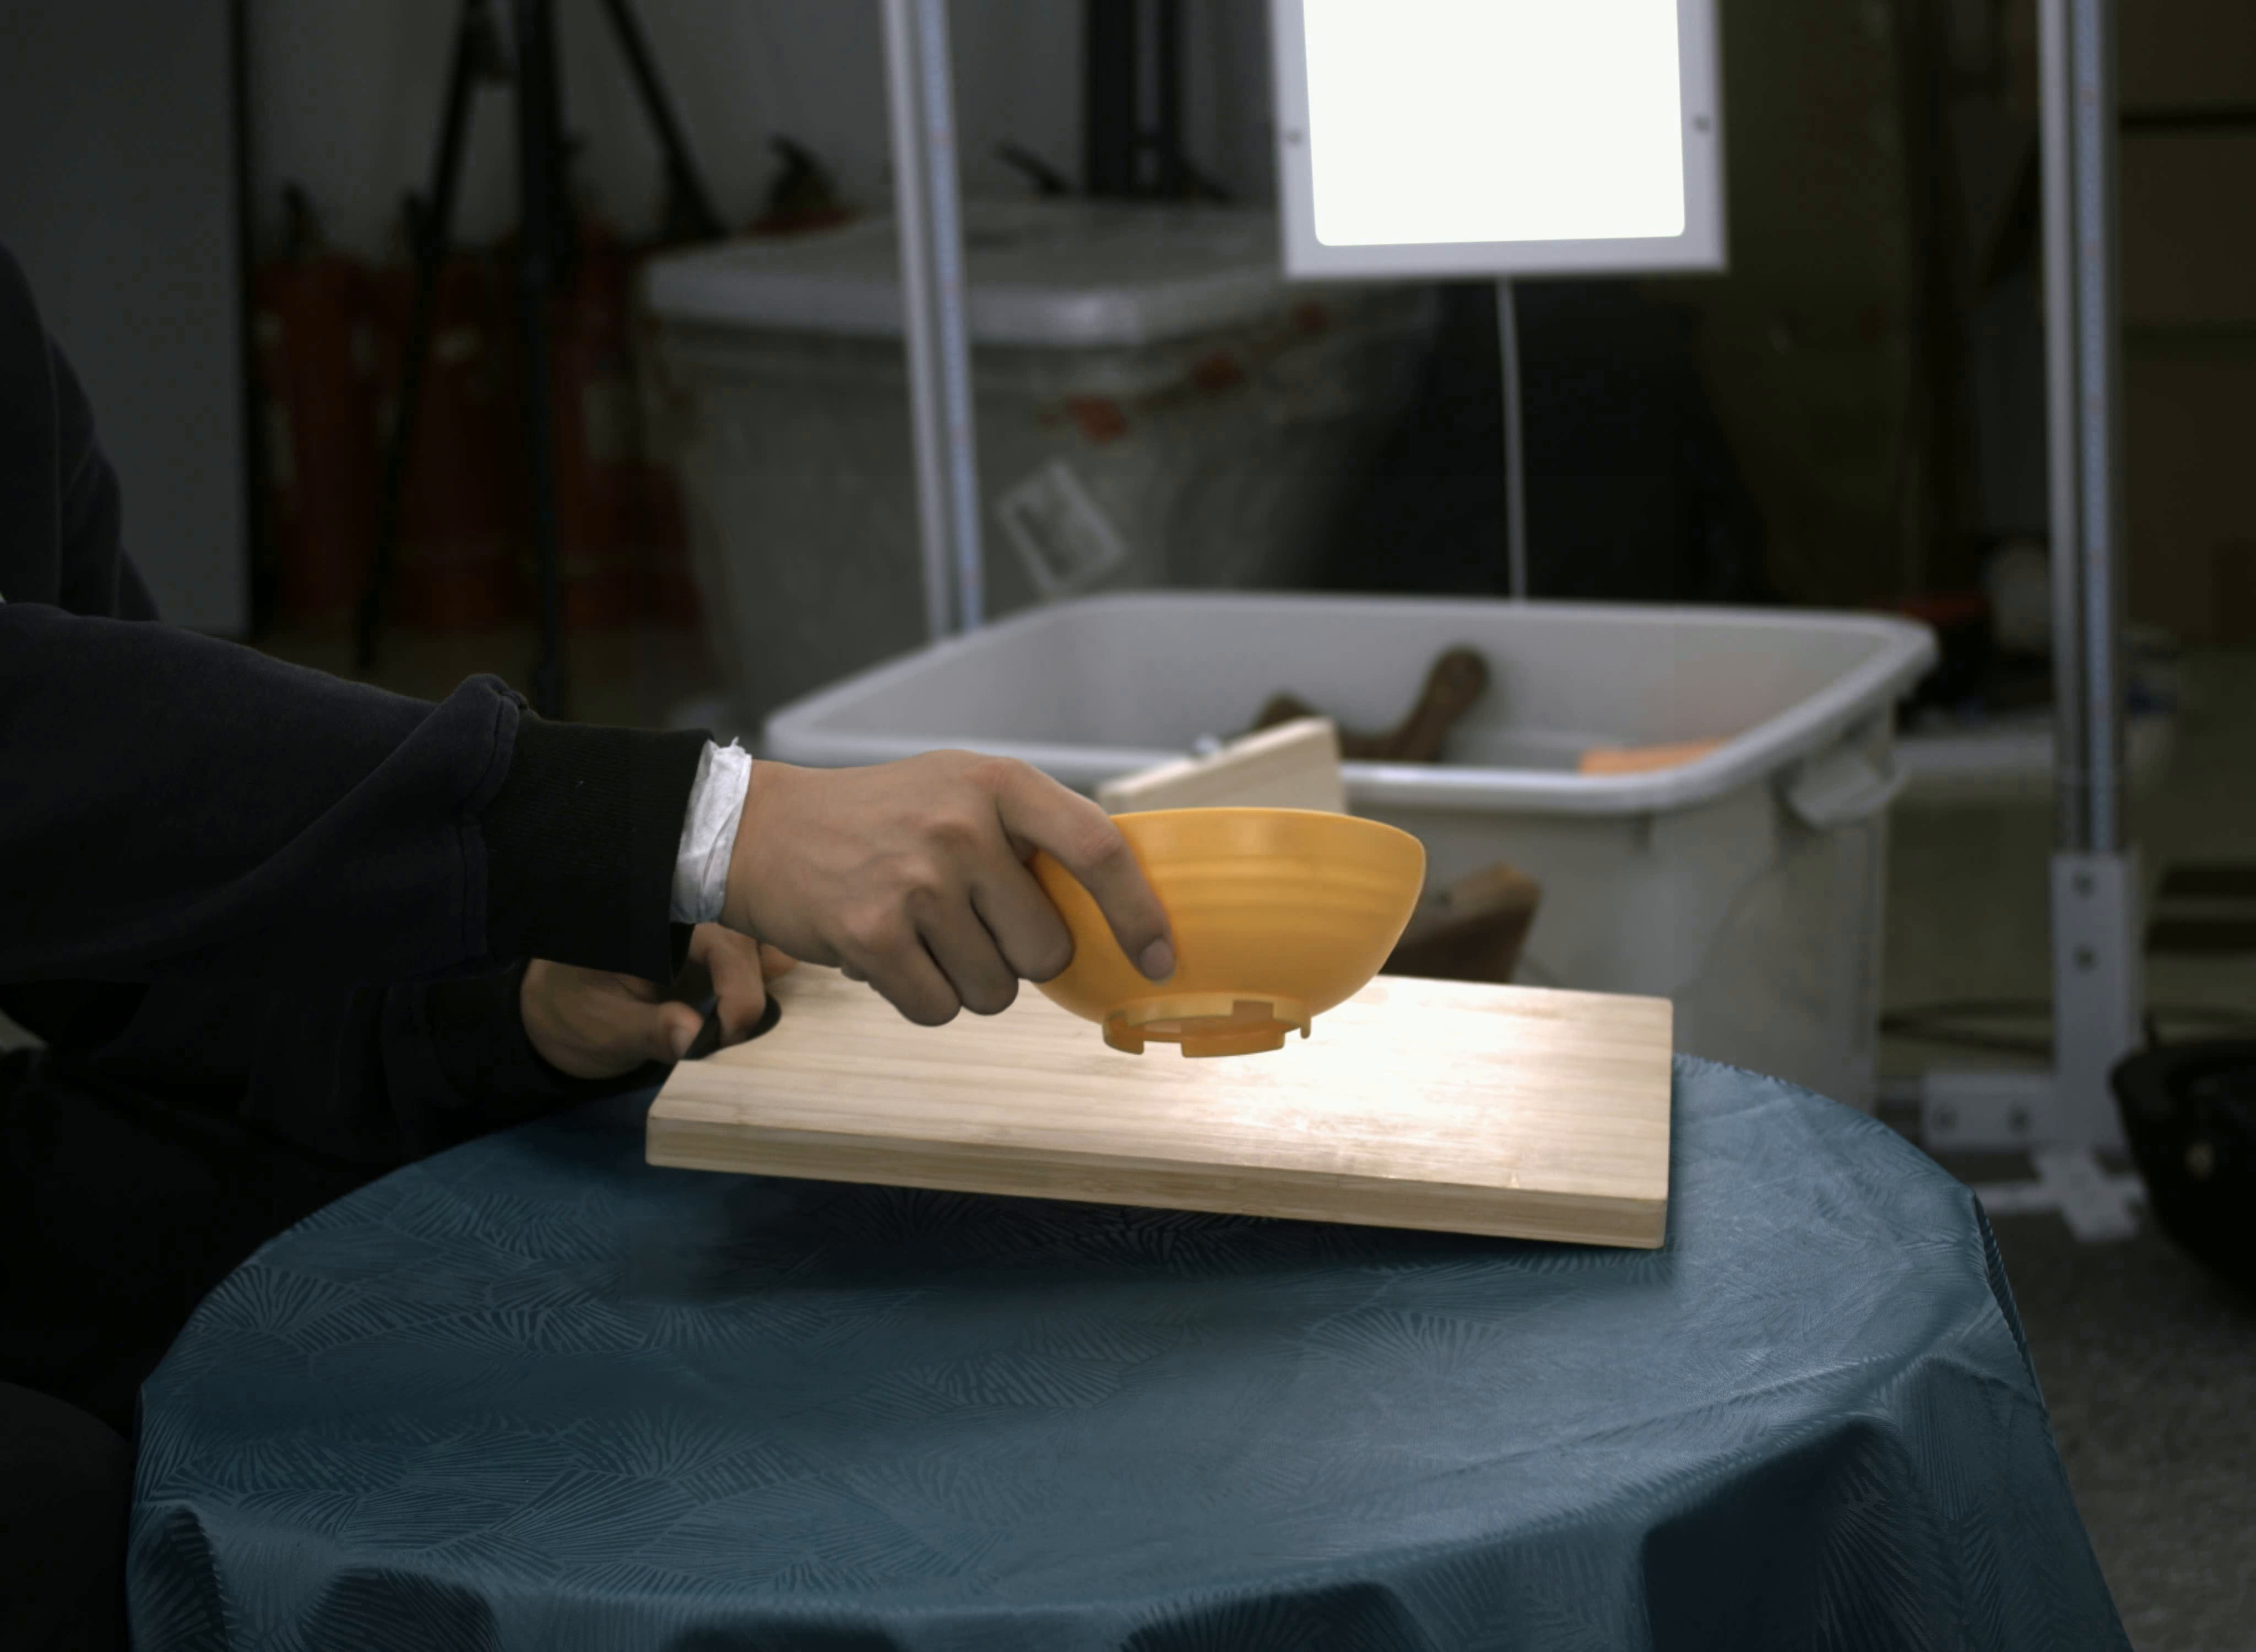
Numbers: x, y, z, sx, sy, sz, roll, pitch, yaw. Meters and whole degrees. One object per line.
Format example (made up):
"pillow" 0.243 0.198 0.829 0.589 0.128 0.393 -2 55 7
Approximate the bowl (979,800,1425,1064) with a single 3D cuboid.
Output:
"bowl" 0.025 0.040 1.751 0.145 0.060 0.146 -2 -15 -2

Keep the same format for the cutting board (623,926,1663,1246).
"cutting board" 0.014 0.088 1.924 0.349 0.024 0.249 4 14 6
